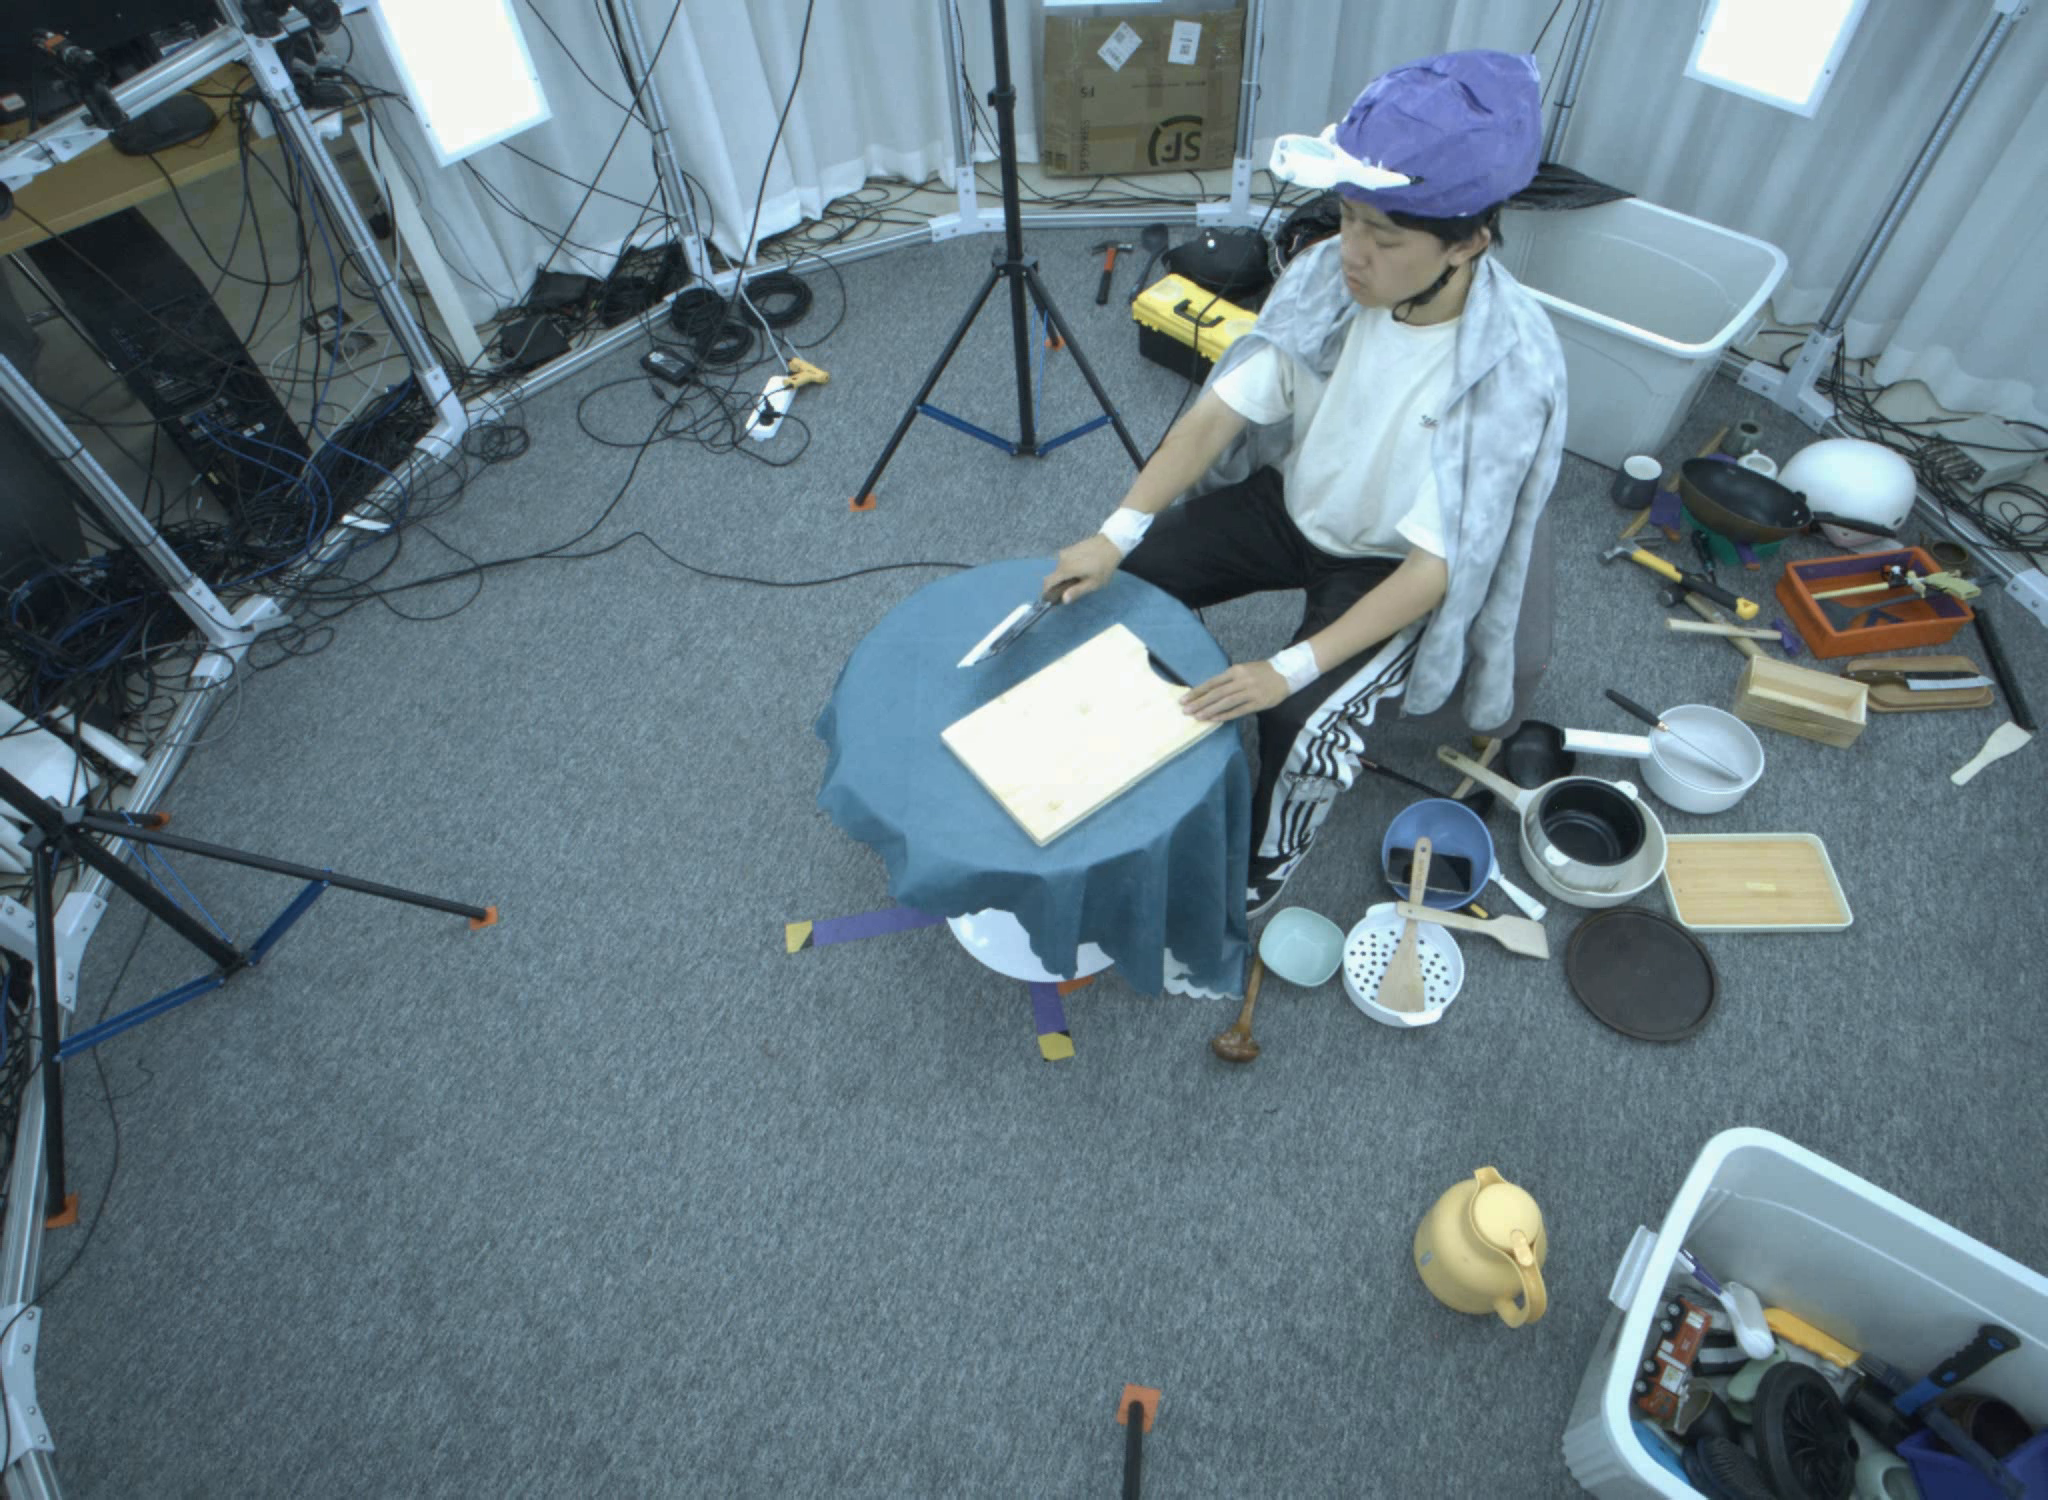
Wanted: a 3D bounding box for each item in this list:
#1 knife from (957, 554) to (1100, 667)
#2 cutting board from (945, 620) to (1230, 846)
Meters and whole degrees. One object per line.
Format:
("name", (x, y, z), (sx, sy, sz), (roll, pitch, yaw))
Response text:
("knife", (0.008, -0.213, 1.875), (0.066, 0.024, 0.301), (10, 45, 45))
("cutting board", (0.090, -0.034, 1.801), (0.351, 0.024, 0.246), (-34, 61, -20))
